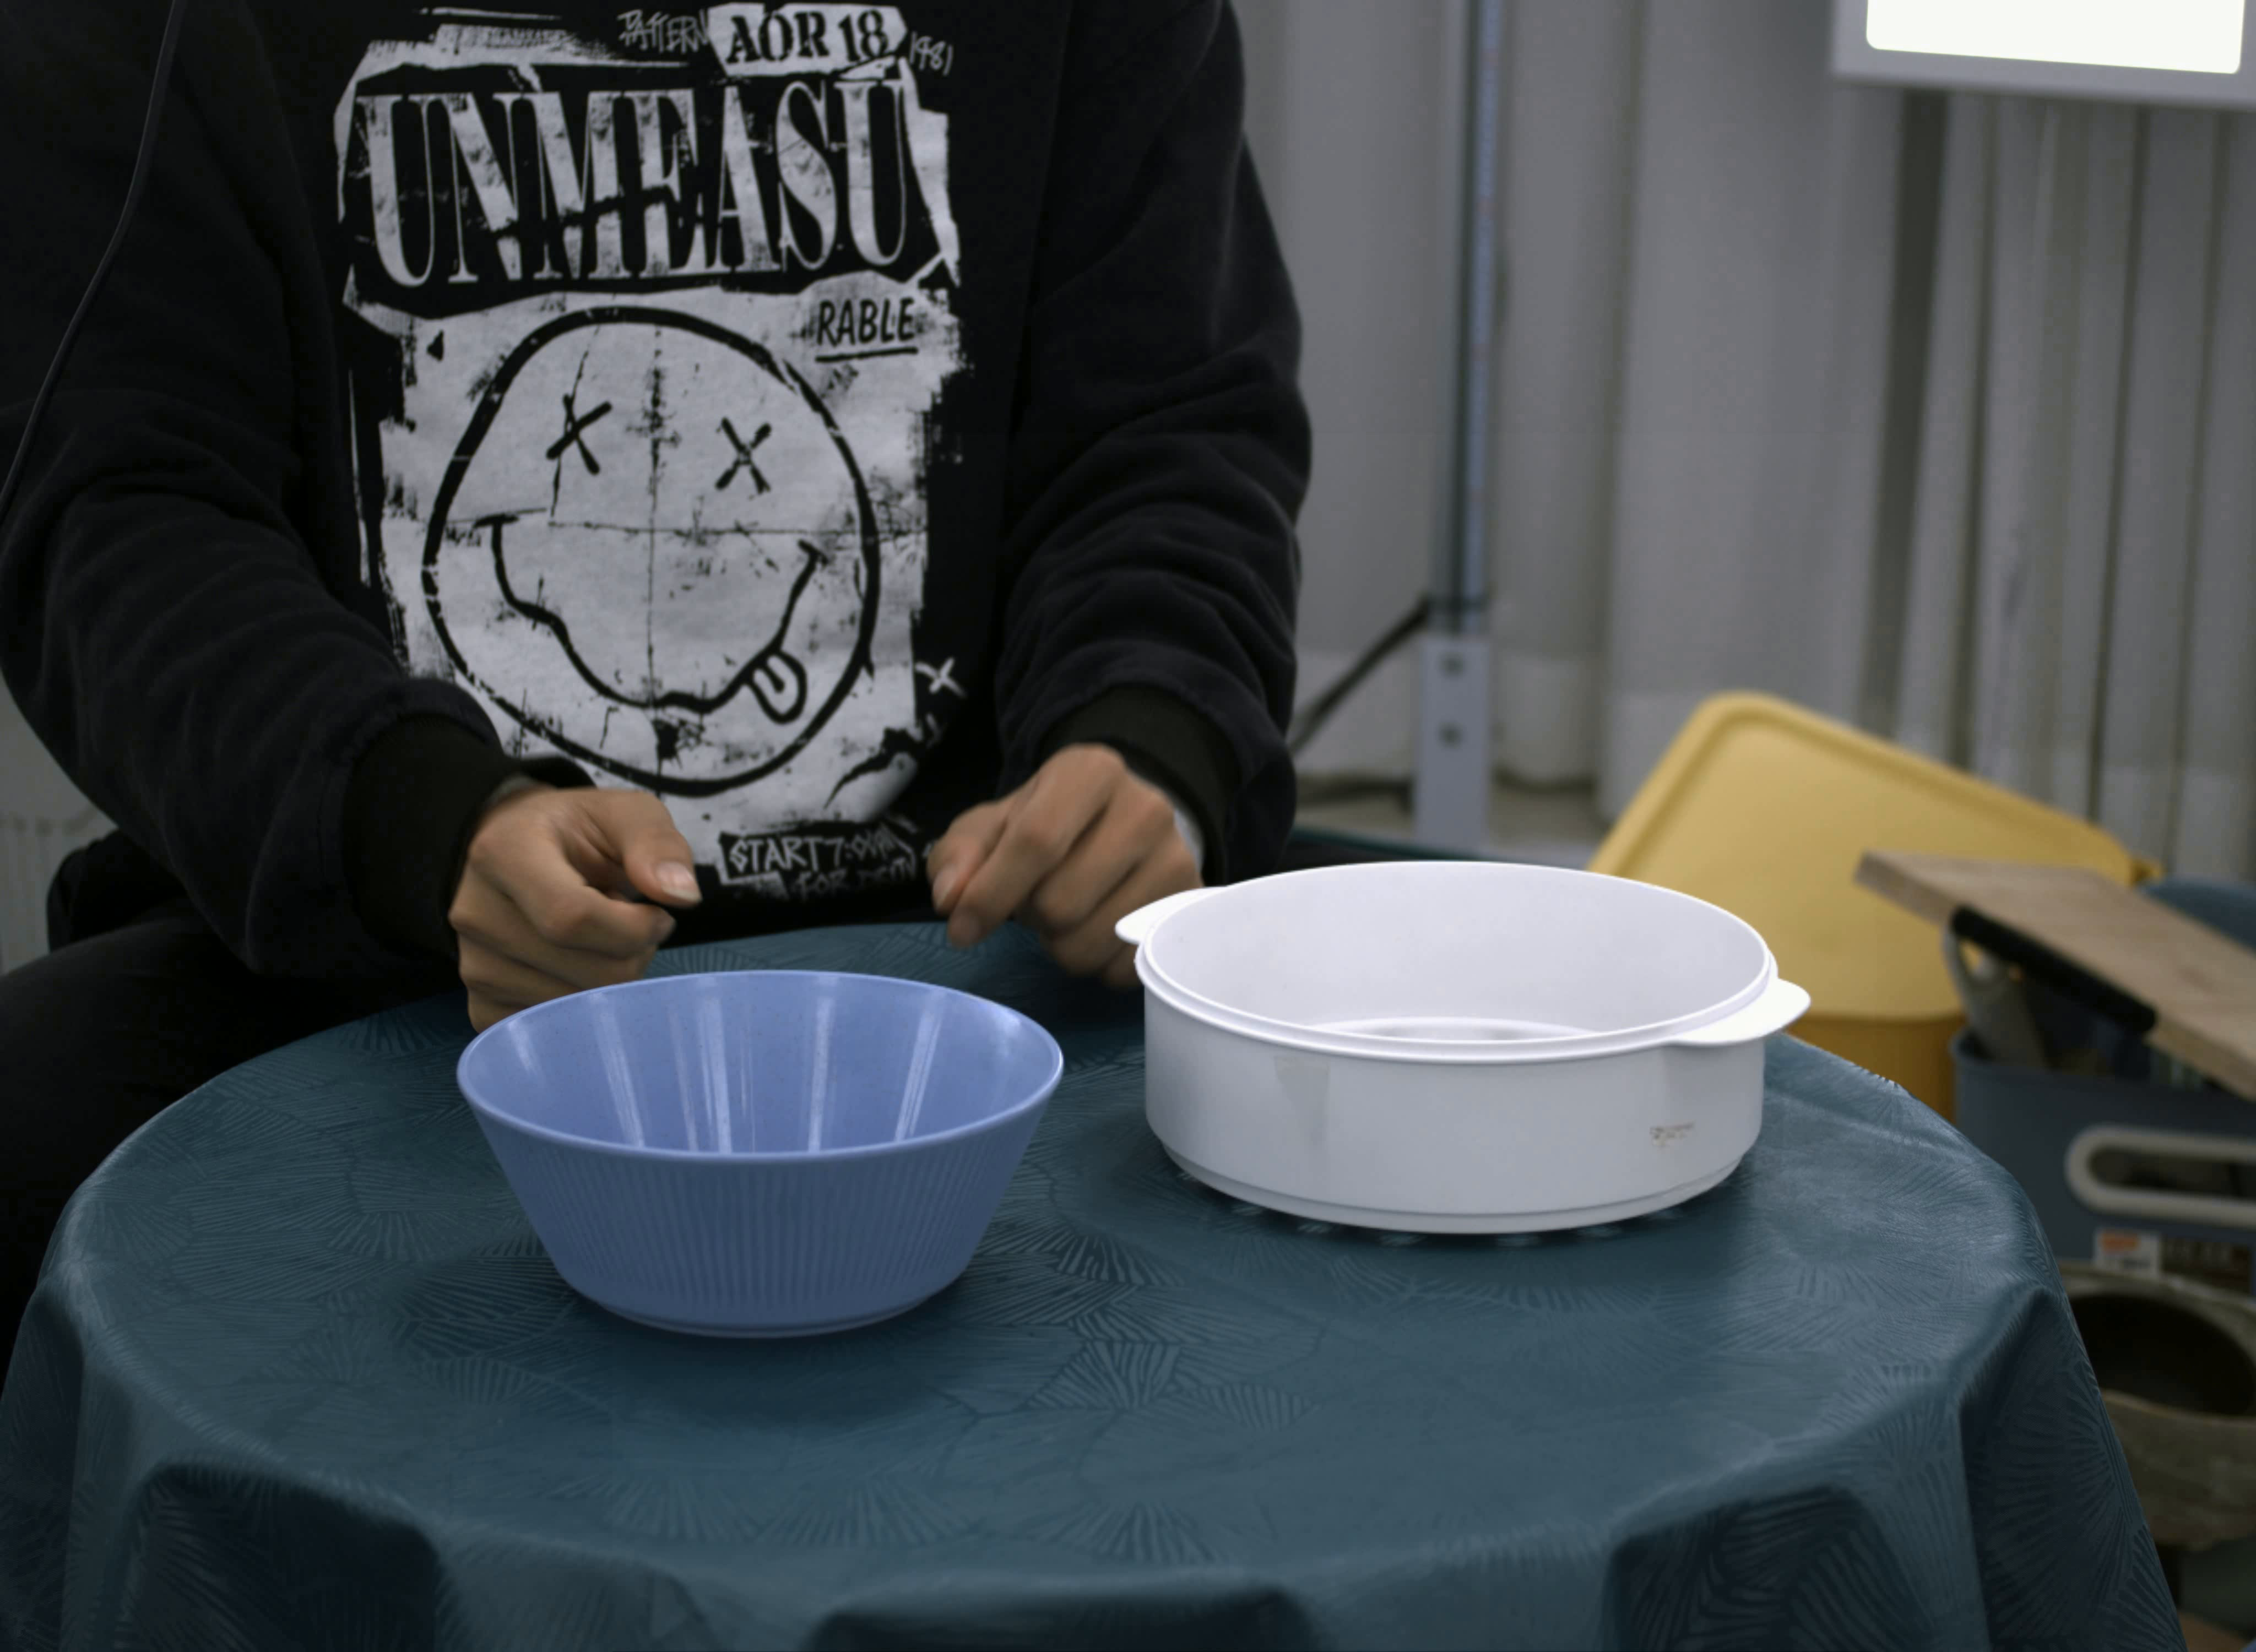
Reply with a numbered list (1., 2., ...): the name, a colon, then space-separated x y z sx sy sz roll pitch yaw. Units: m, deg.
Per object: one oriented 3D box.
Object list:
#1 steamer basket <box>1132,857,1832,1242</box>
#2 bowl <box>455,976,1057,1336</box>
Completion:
1. steamer basket: 0.107 0.070 1.655 0.228 0.070 0.202 12 20 29
2. bowl: -0.109 0.099 1.541 0.175 0.071 0.175 2 16 0
